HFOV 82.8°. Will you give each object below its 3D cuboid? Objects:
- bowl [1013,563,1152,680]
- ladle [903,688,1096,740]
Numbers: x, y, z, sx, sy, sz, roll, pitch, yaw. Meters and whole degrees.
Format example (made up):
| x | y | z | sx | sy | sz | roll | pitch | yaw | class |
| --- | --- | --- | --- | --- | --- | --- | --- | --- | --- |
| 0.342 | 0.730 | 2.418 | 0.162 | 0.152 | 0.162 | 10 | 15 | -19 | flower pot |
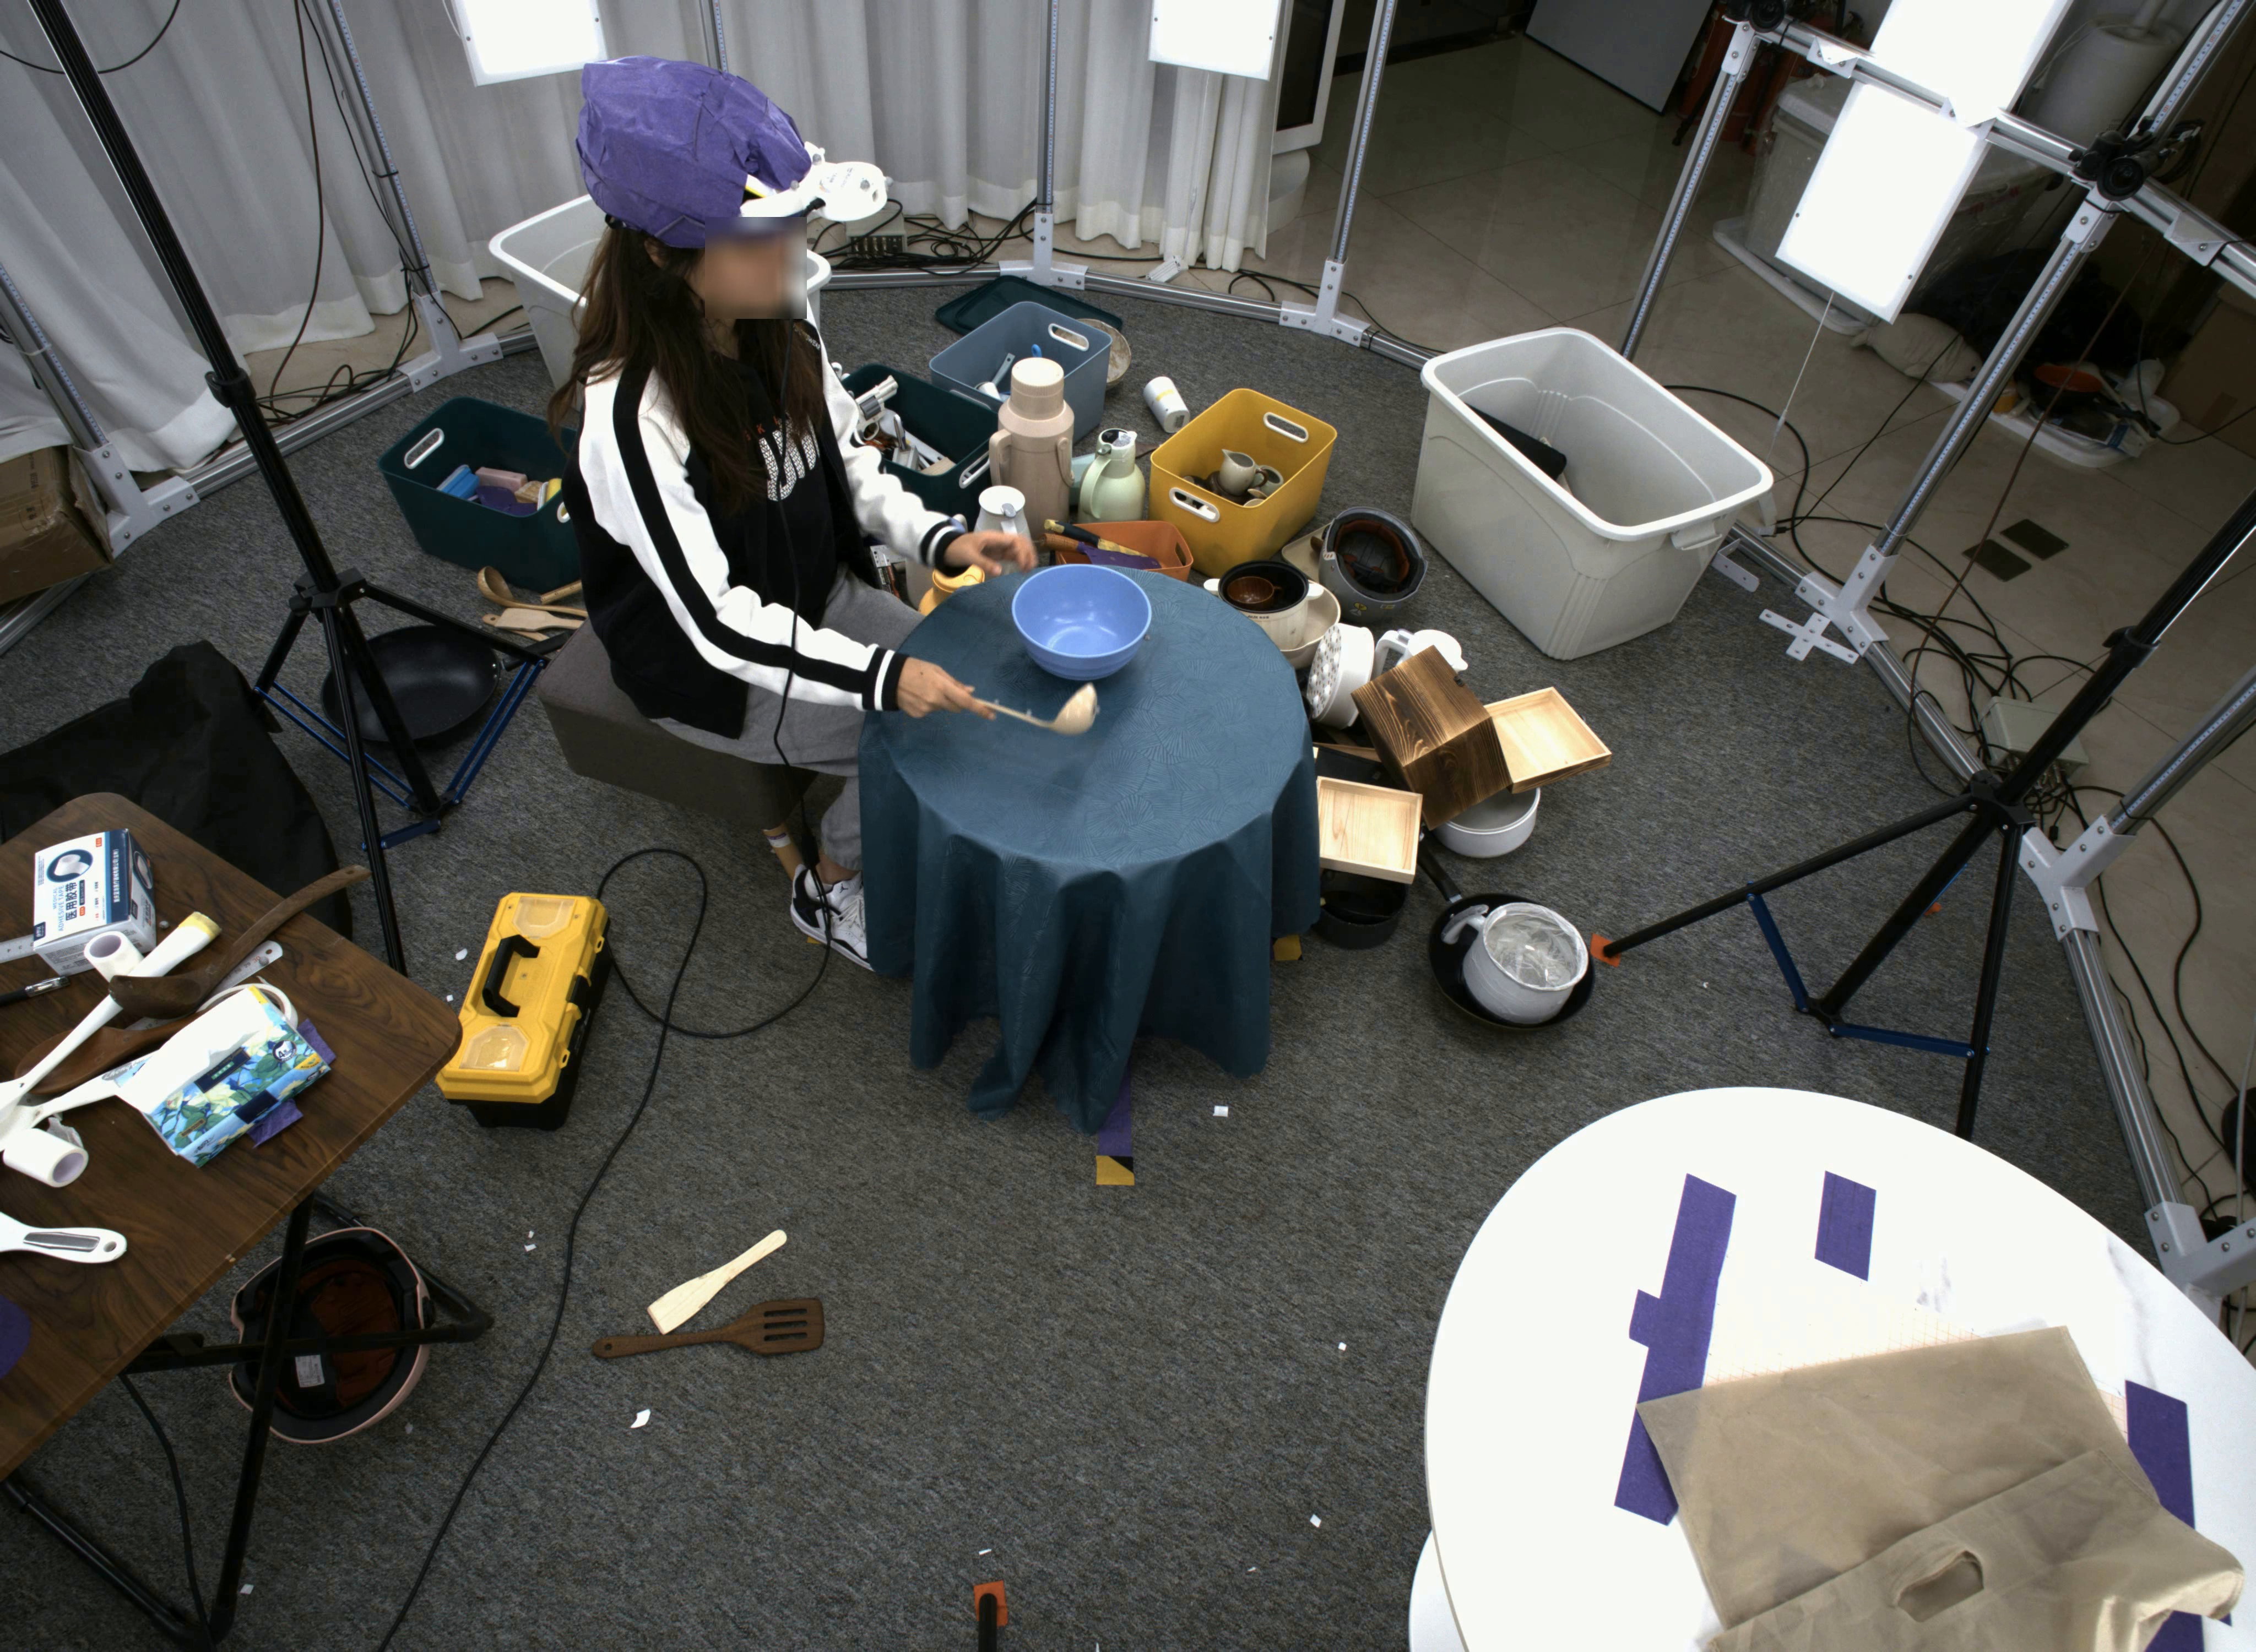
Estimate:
| x | y | z | sx | sy | sz | roll | pitch | yaw | class |
| --- | --- | --- | --- | --- | --- | --- | --- | --- | --- |
| -0.068 | -0.278 | 1.844 | 0.196 | 0.093 | 0.201 | 4 | 49 | -4 | bowl |
| -0.166 | -0.176 | 1.700 | 0.255 | 0.071 | 0.073 | 17 | 85 | 7 | ladle |
